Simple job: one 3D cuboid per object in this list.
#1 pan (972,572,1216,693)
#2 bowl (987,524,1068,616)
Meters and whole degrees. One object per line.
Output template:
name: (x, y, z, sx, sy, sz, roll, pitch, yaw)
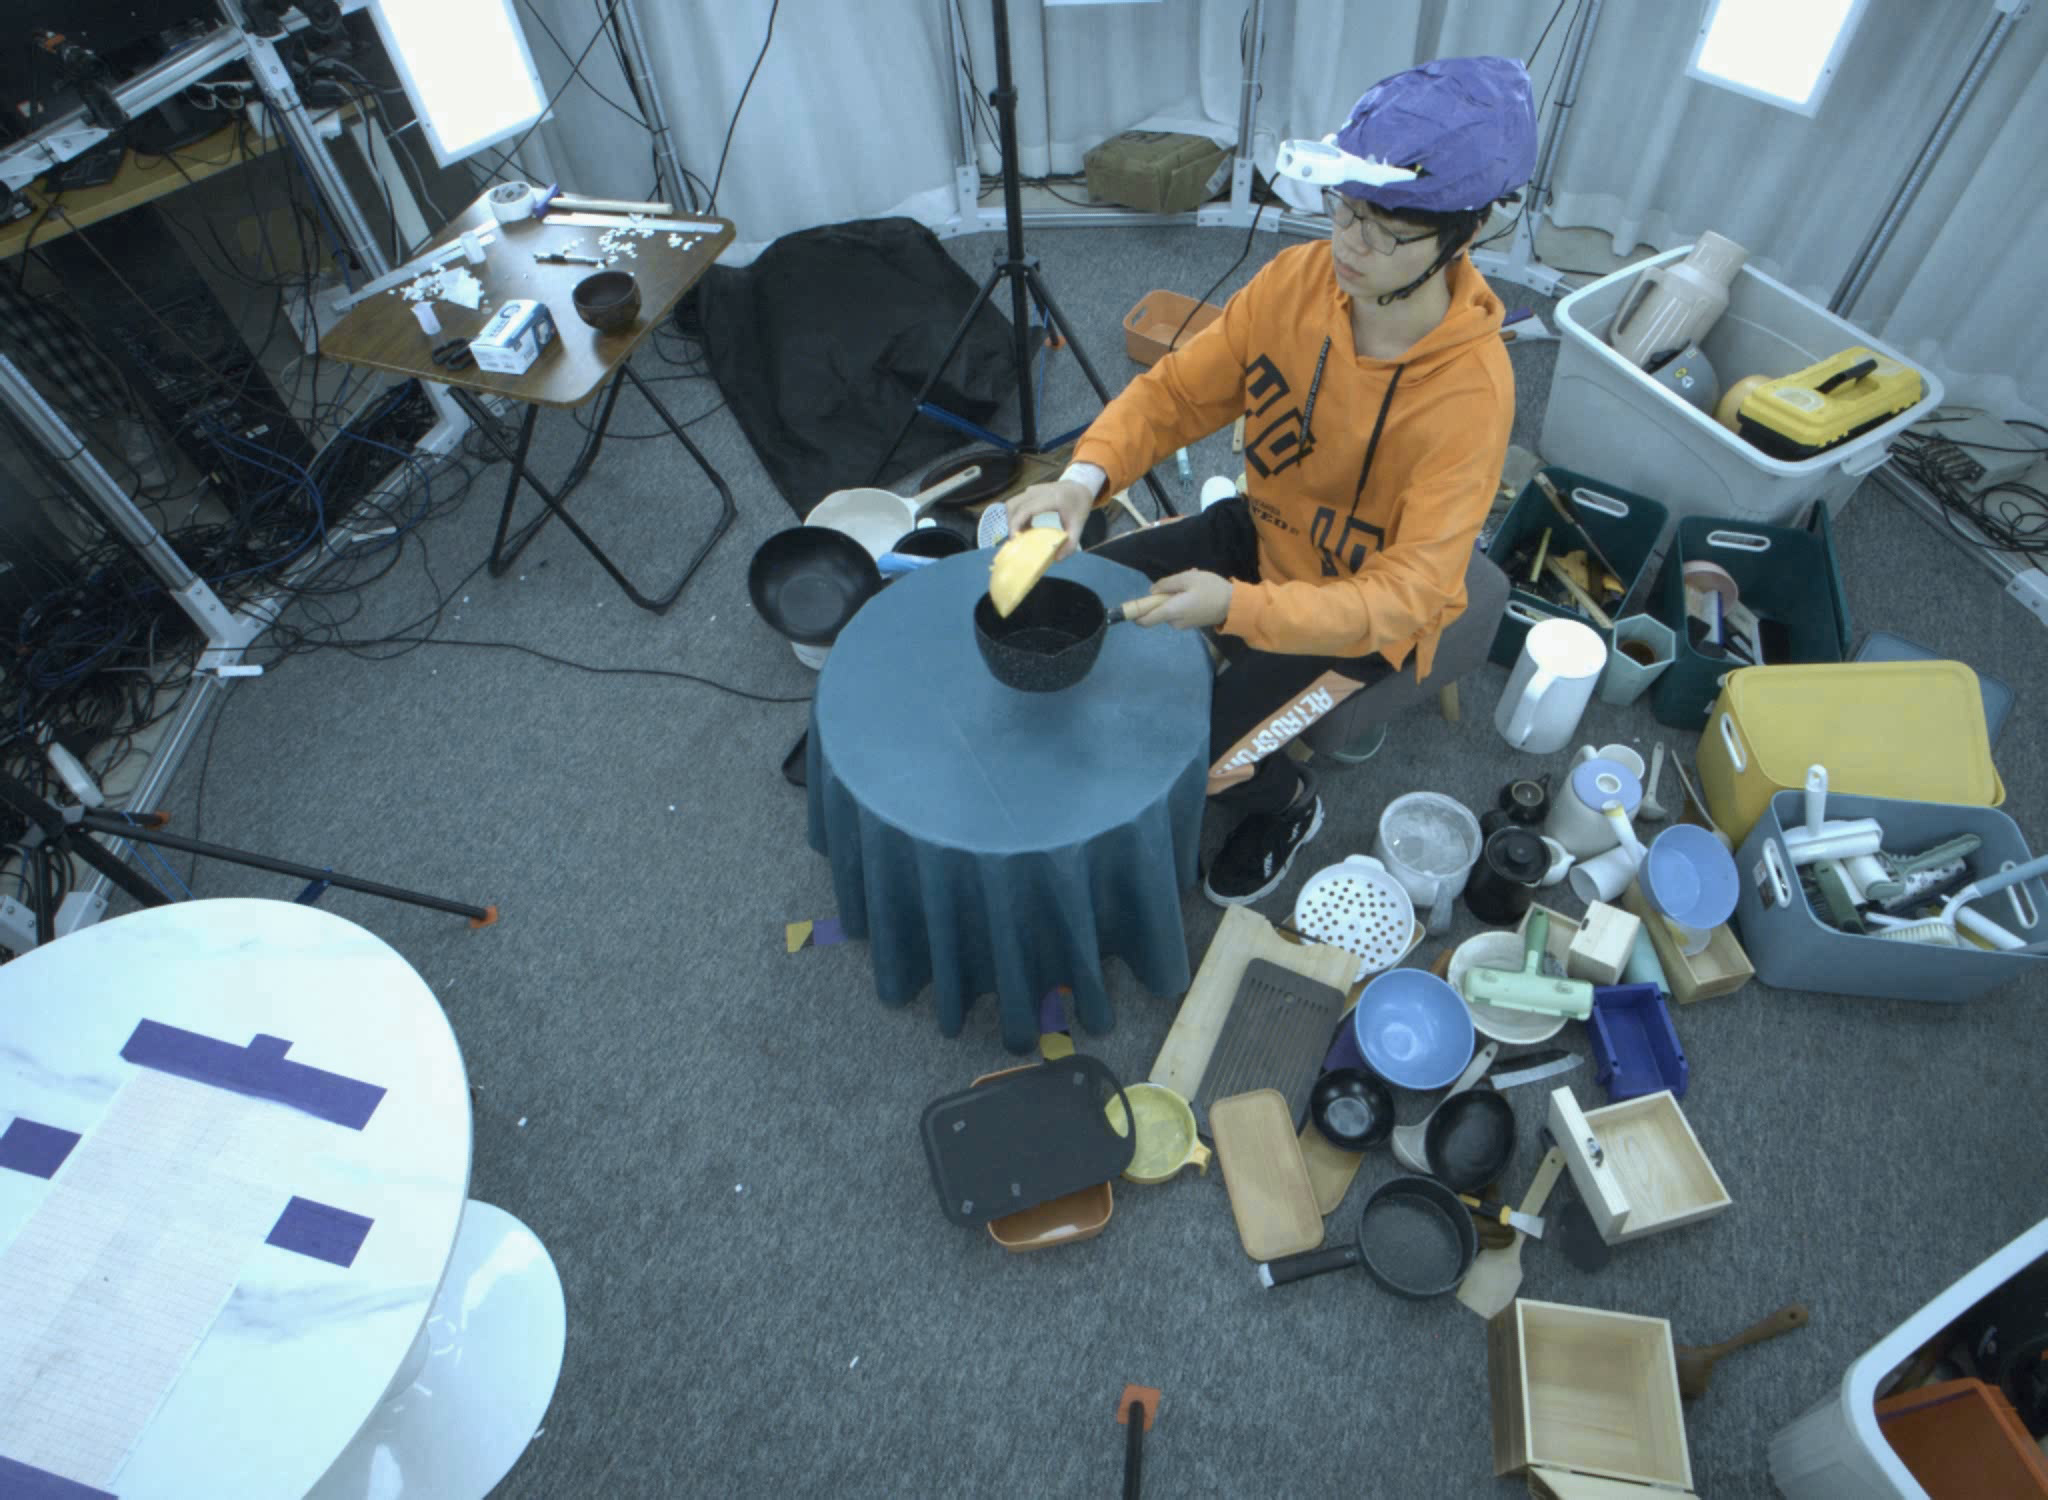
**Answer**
pan: (0.100, -0.177, 1.726, 0.345, 0.109, 0.204, -8, 42, -8)
bowl: (-0.008, -0.255, 1.657, 0.060, 0.144, 0.146, 37, 62, -1)
